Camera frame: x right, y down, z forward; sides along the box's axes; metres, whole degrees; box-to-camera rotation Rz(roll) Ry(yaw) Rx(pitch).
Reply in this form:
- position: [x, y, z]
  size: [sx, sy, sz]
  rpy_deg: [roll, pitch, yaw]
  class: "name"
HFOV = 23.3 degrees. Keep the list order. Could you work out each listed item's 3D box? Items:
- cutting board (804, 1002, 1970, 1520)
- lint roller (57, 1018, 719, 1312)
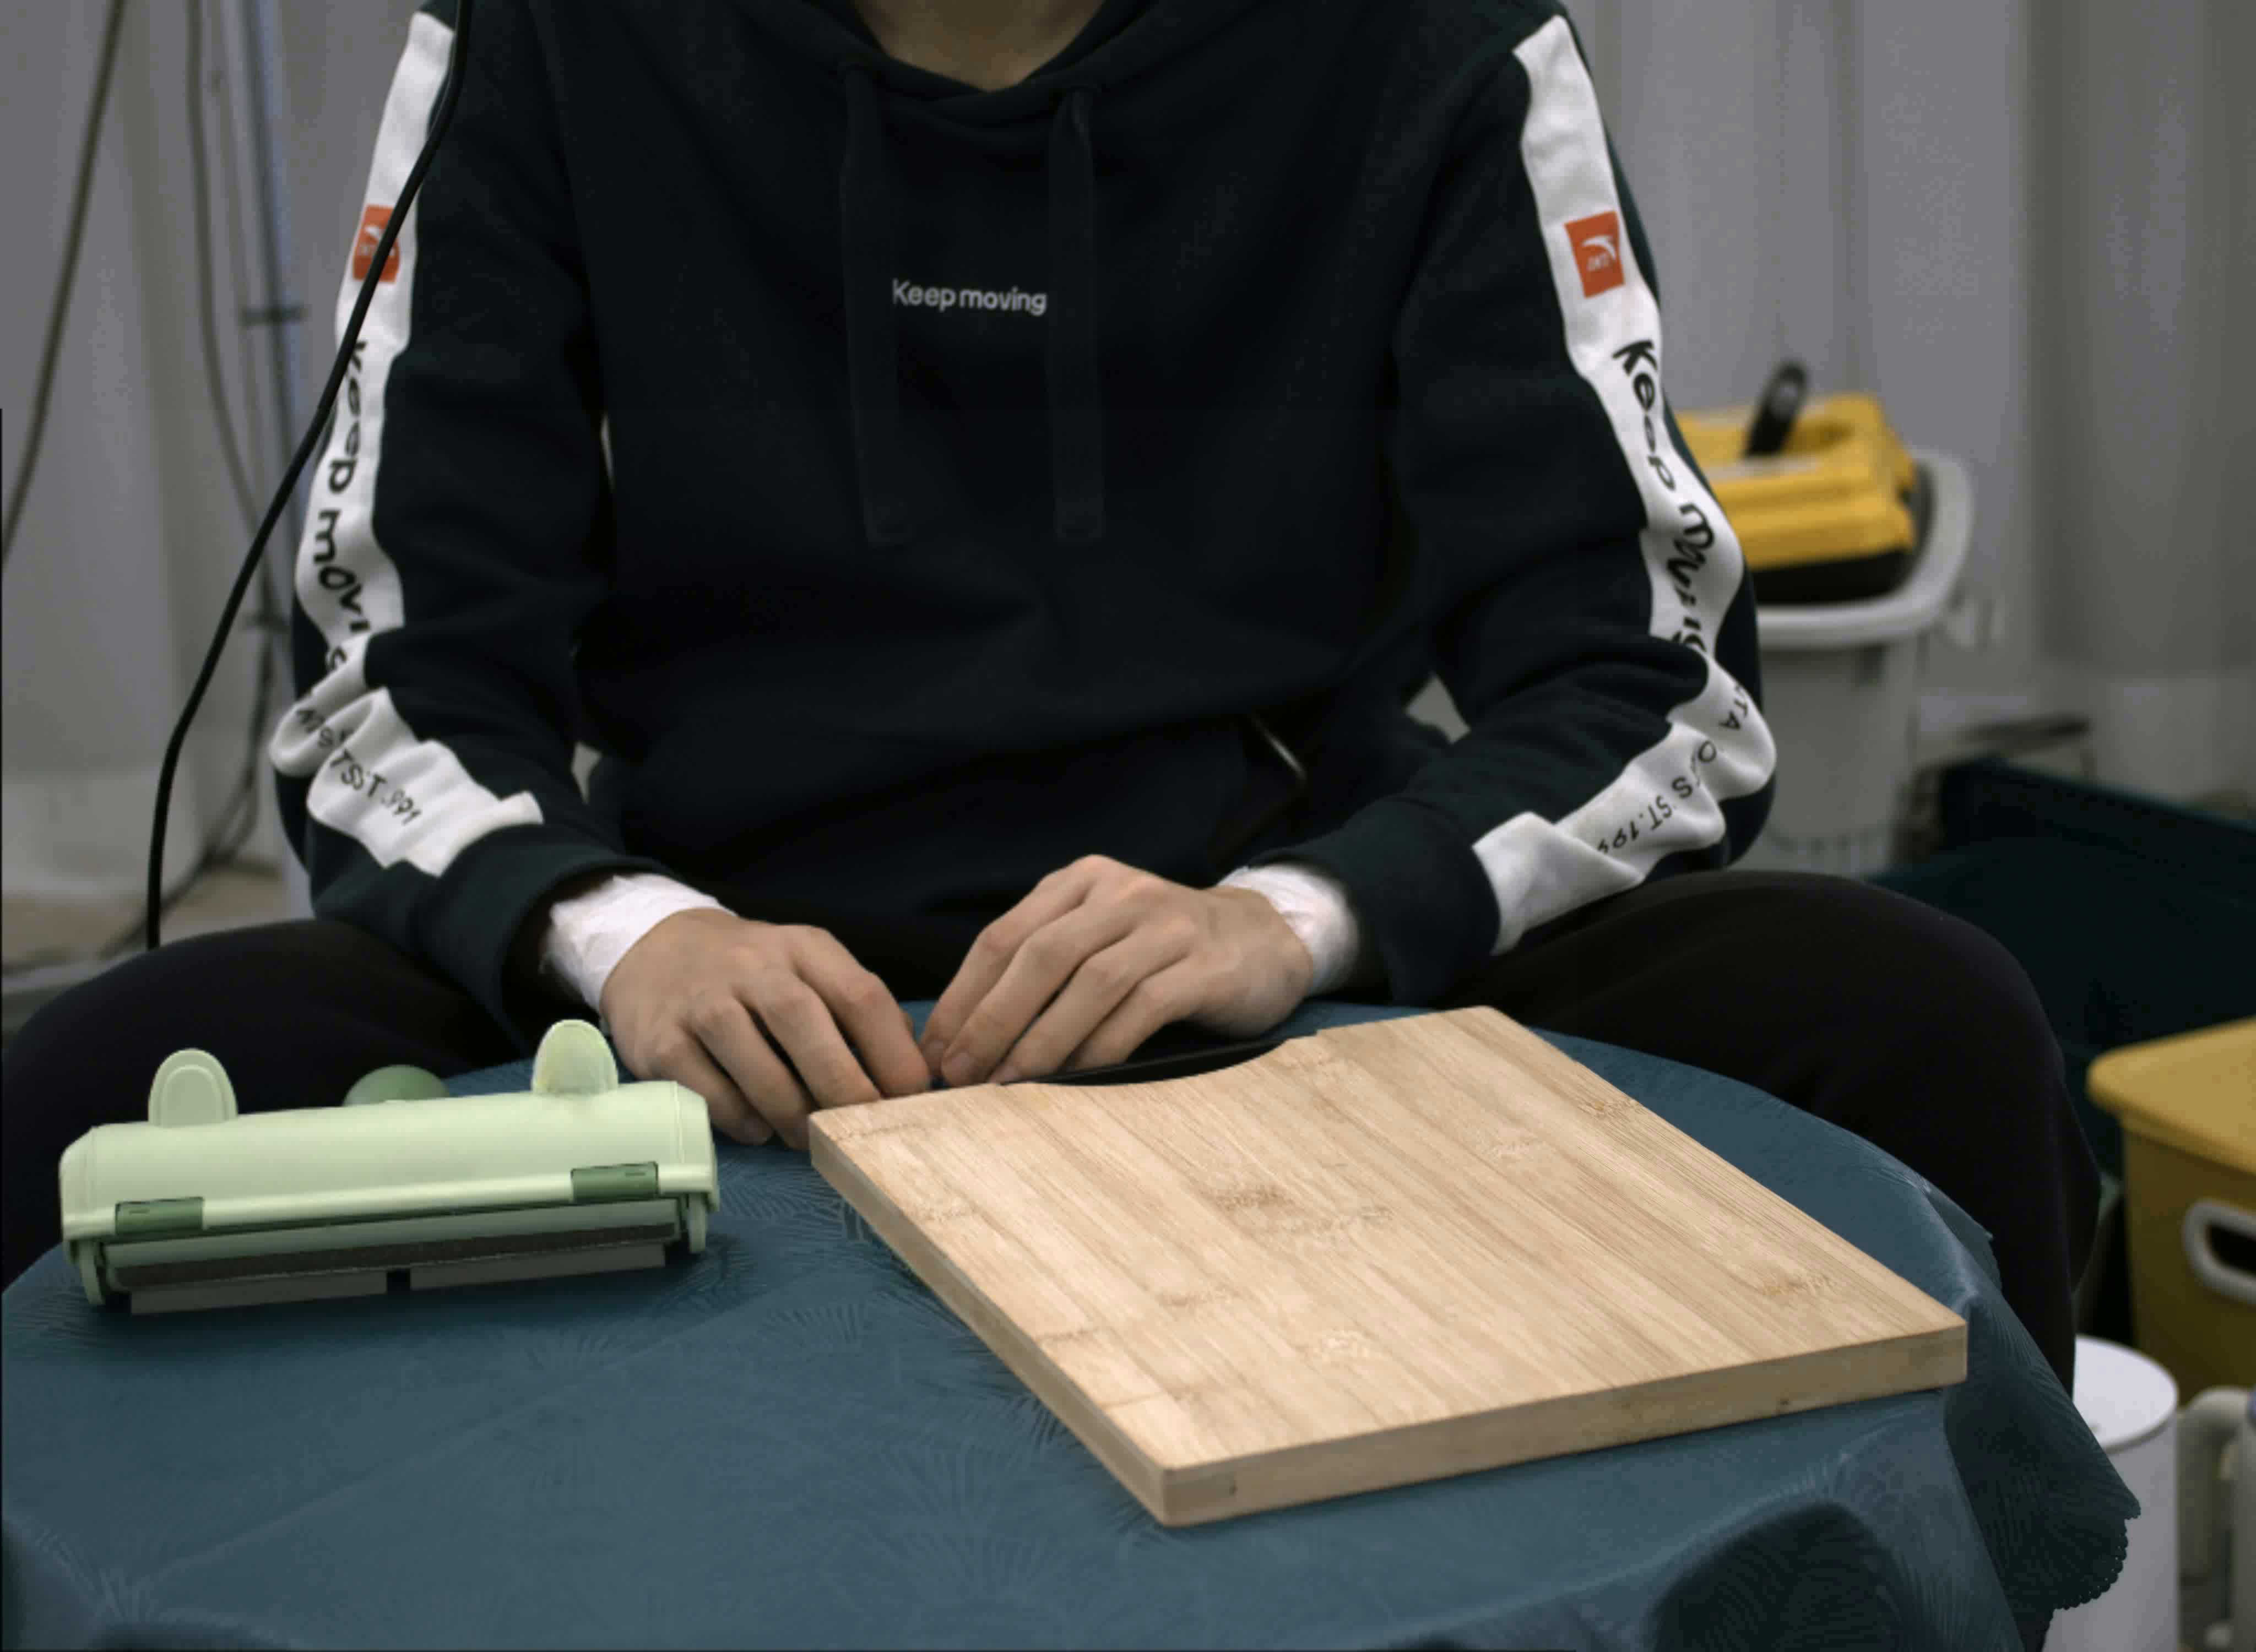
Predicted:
- position: [0.065, 0.123, 1.639]
  size: [0.249, 0.023, 0.351]
  rpy_deg: [-8, 16, -19]
  class: "cutting board"
- position: [-0.231, 0.088, 1.714]
  size: [0.198, 0.082, 0.185]
  rpy_deg: [-5, 19, -5]
  class: "lint roller"
